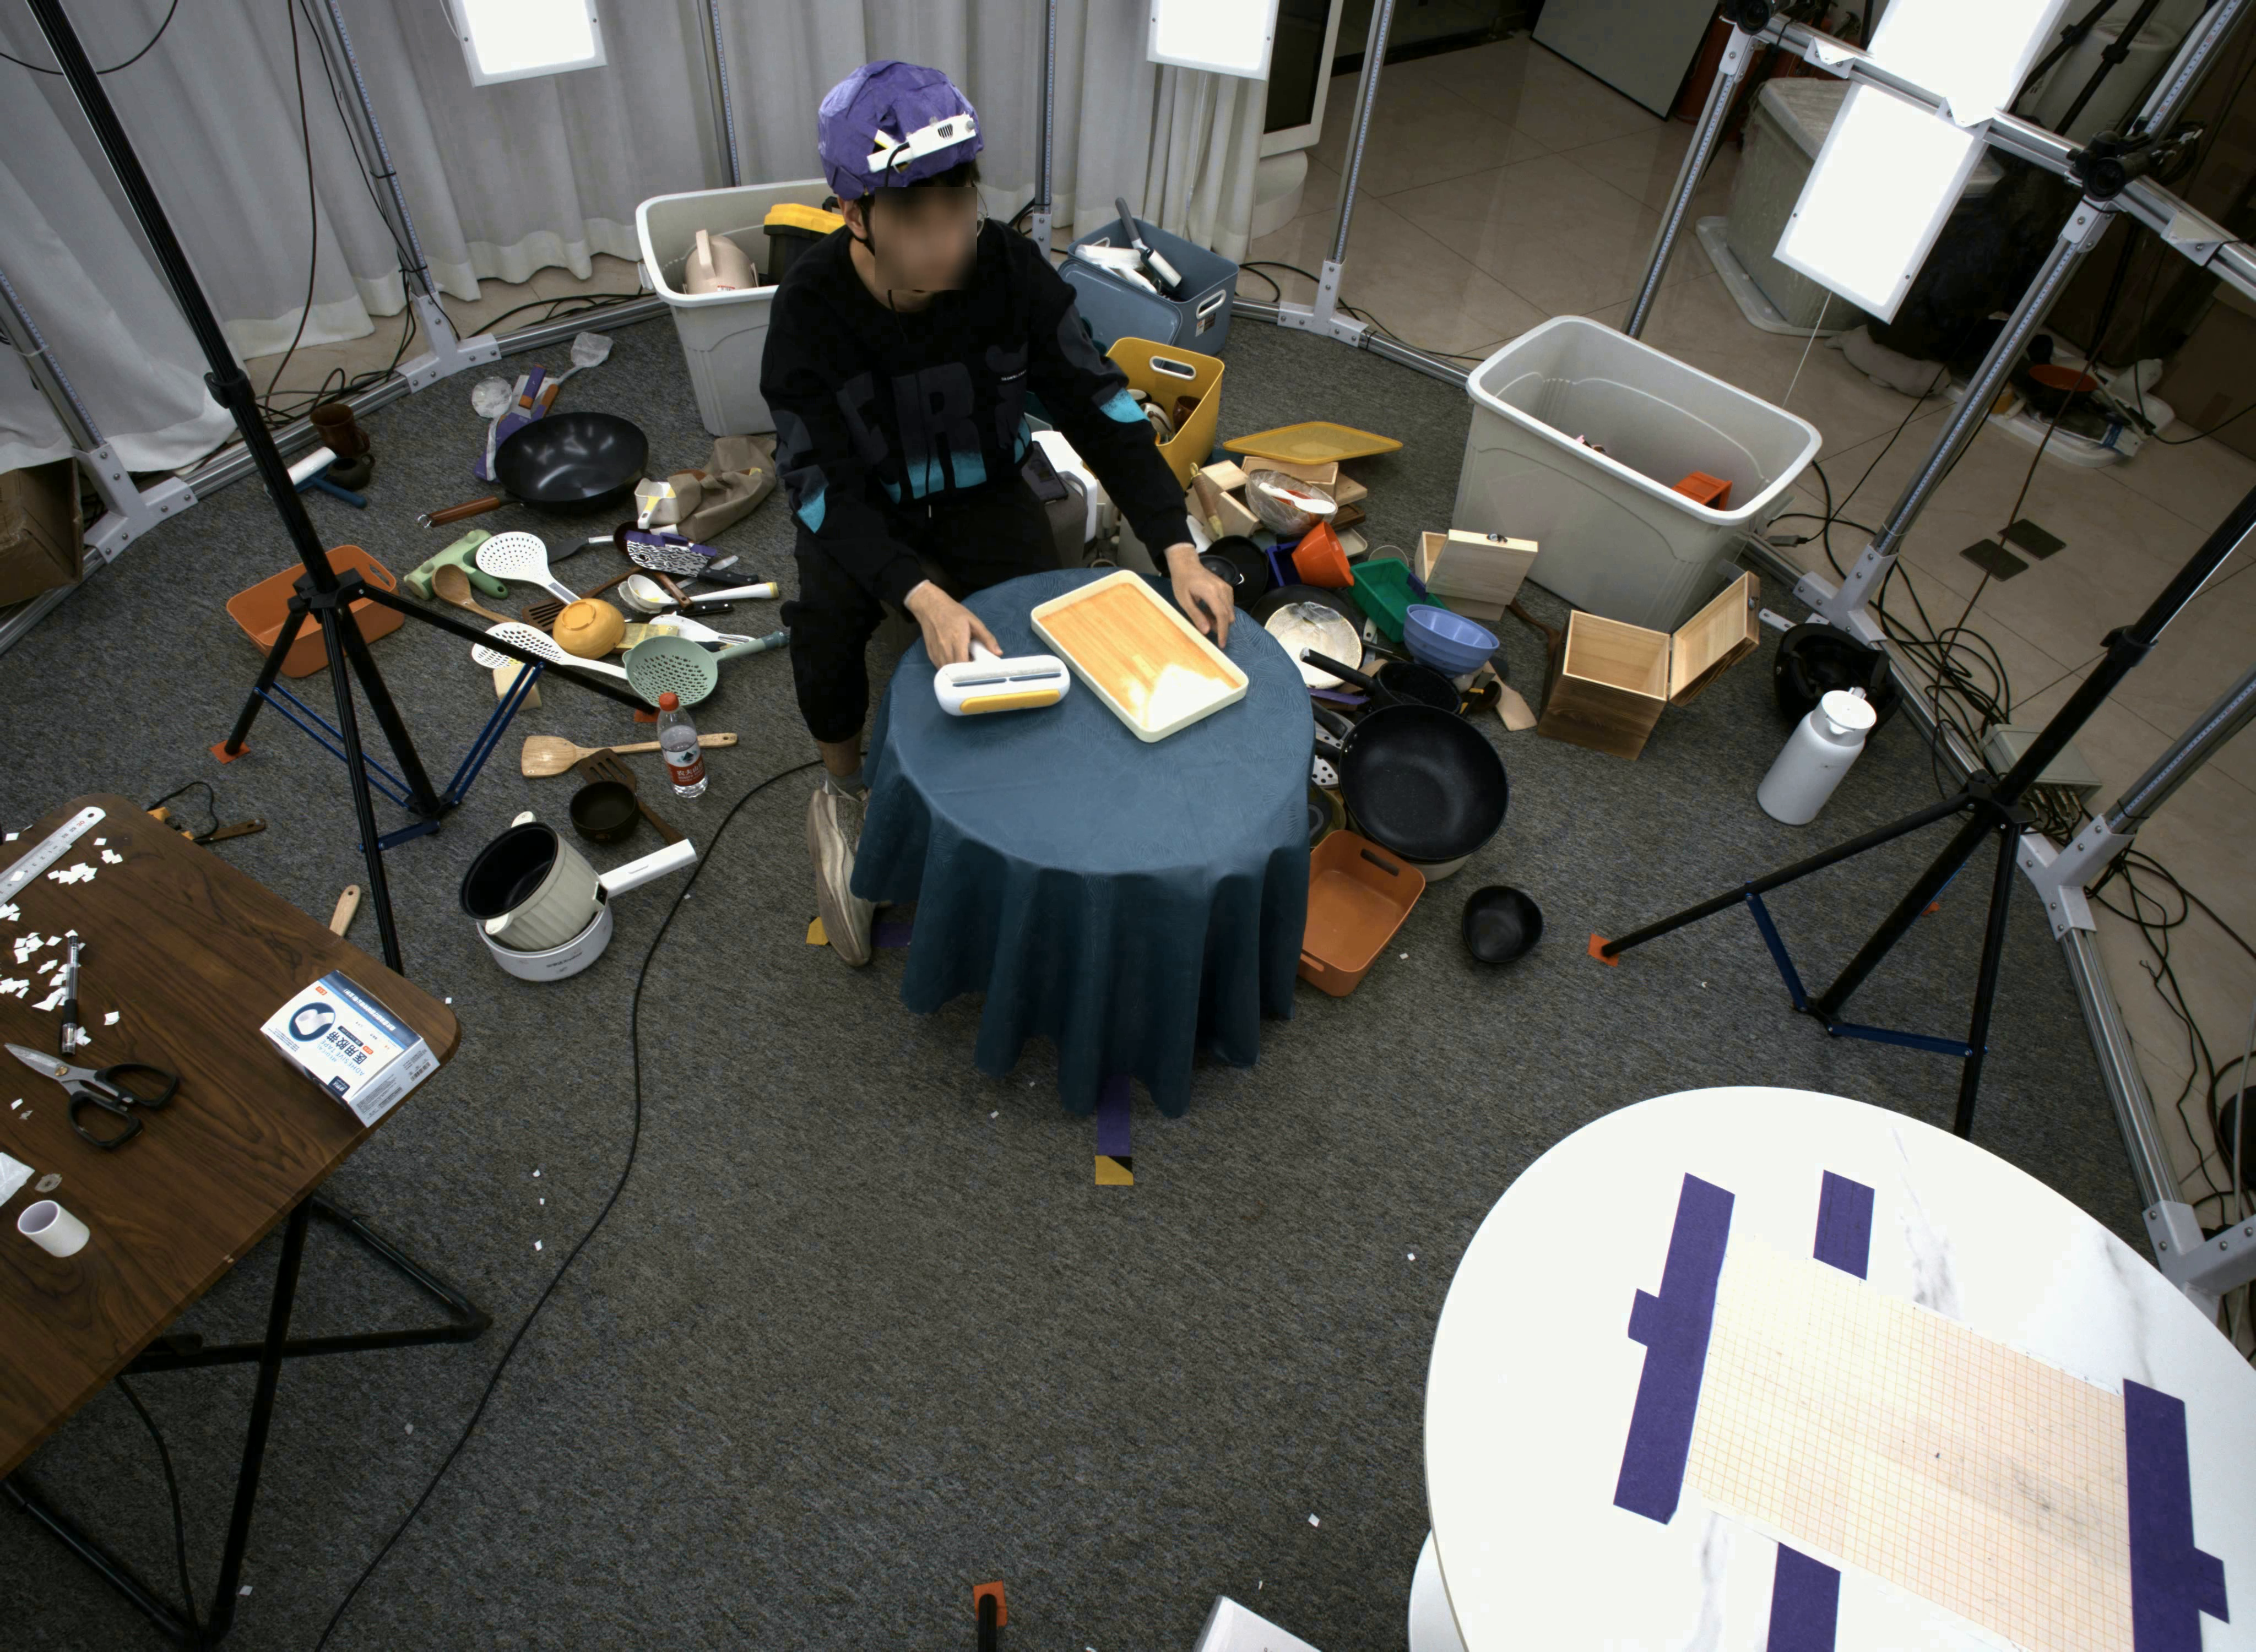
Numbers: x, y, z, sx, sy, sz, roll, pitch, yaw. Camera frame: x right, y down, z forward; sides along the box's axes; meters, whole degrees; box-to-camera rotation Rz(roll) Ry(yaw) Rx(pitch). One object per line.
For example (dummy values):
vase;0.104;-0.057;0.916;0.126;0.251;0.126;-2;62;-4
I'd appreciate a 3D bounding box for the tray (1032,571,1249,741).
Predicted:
tray;0.015;-0.253;1.871;0.192;0.027;0.306;-27;56;-25

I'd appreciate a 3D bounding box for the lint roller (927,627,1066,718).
lint roller;-0.200;-0.230;1.812;0.192;0.072;0.197;-9;48;-19
